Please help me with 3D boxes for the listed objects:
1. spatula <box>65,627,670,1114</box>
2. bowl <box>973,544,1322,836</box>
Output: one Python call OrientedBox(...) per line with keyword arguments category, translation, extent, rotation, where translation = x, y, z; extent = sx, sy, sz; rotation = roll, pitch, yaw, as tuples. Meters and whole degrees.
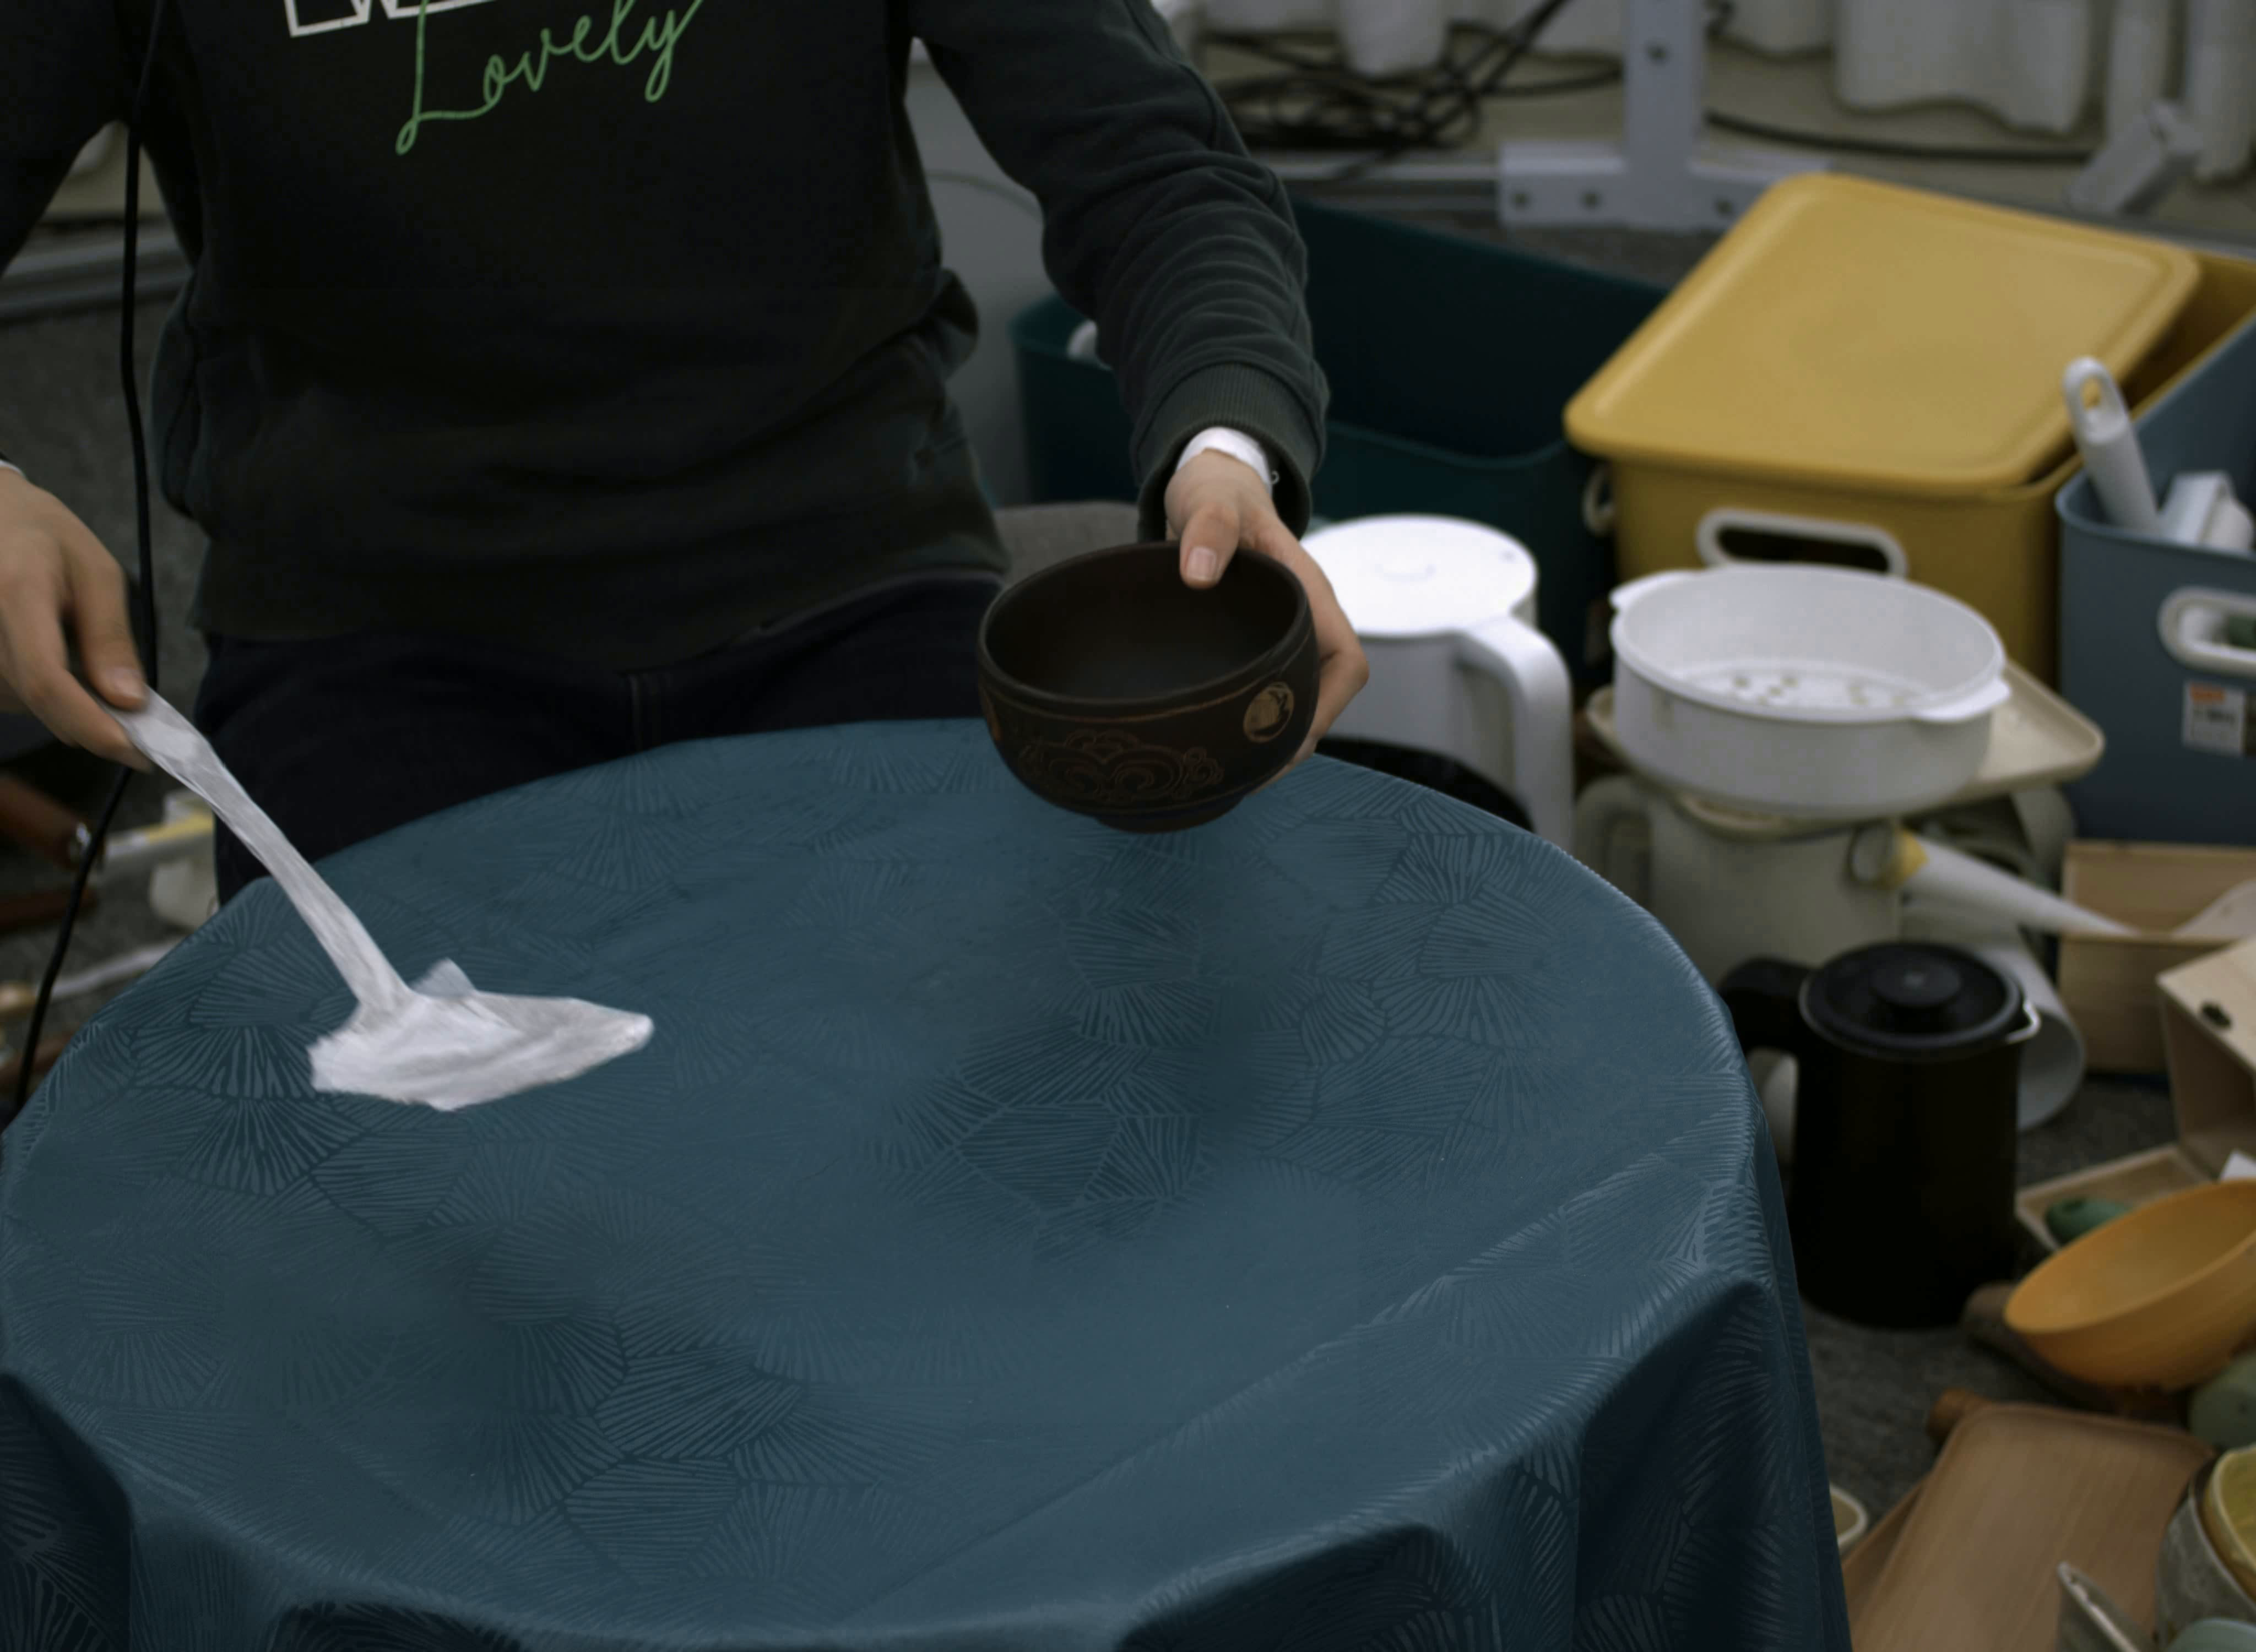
OrientedBox(category="spatula", translation=(-0.273, 0.007, 1.849), extent=(0.099, 0.044, 0.367), rotation=(-17, 39, -29))
OrientedBox(category="bowl", translation=(0.009, -0.040, 1.911), extent=(0.117, 0.069, 0.120), rotation=(-5, 28, 3))
